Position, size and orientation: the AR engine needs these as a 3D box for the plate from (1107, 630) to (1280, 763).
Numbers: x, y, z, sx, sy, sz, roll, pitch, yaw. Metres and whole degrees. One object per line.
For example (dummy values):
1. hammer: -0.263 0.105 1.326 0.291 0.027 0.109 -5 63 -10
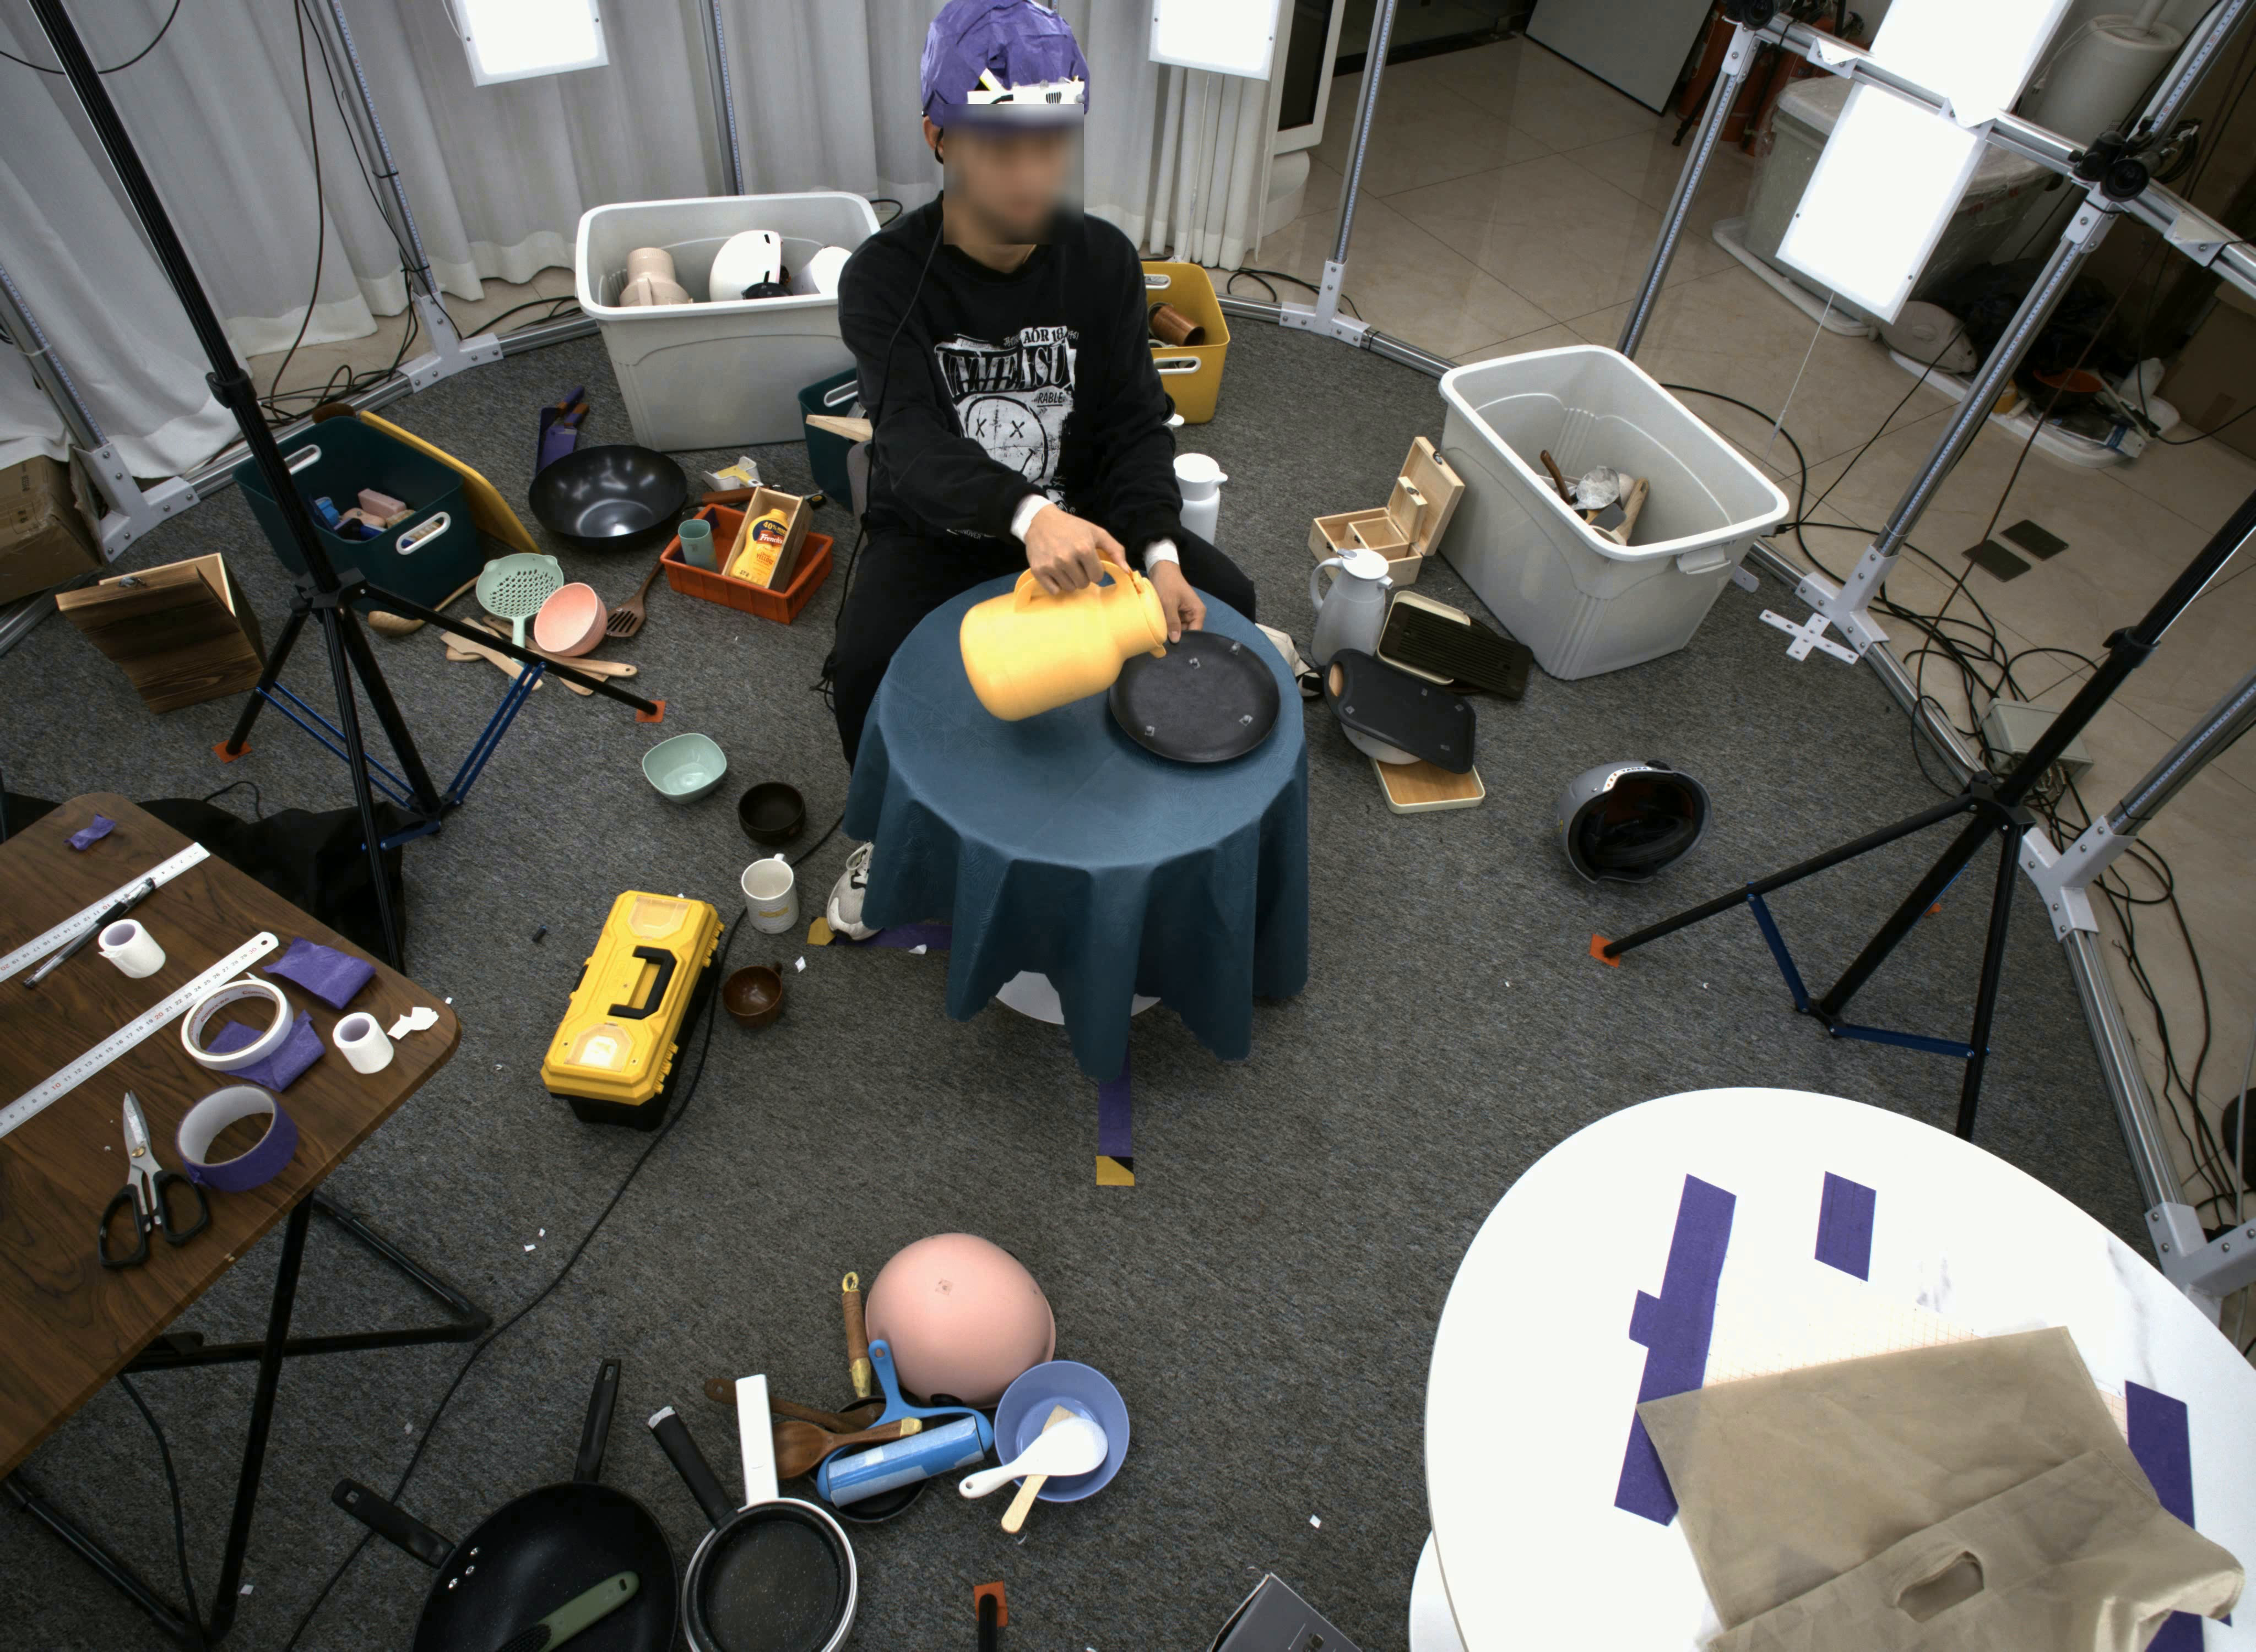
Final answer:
1. plate: 0.092 -0.180 1.806 0.244 0.023 0.250 2 54 -2

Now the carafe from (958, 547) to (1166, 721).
1. carafe: -0.088 -0.257 1.669 0.260 0.197 0.167 -17 44 11
